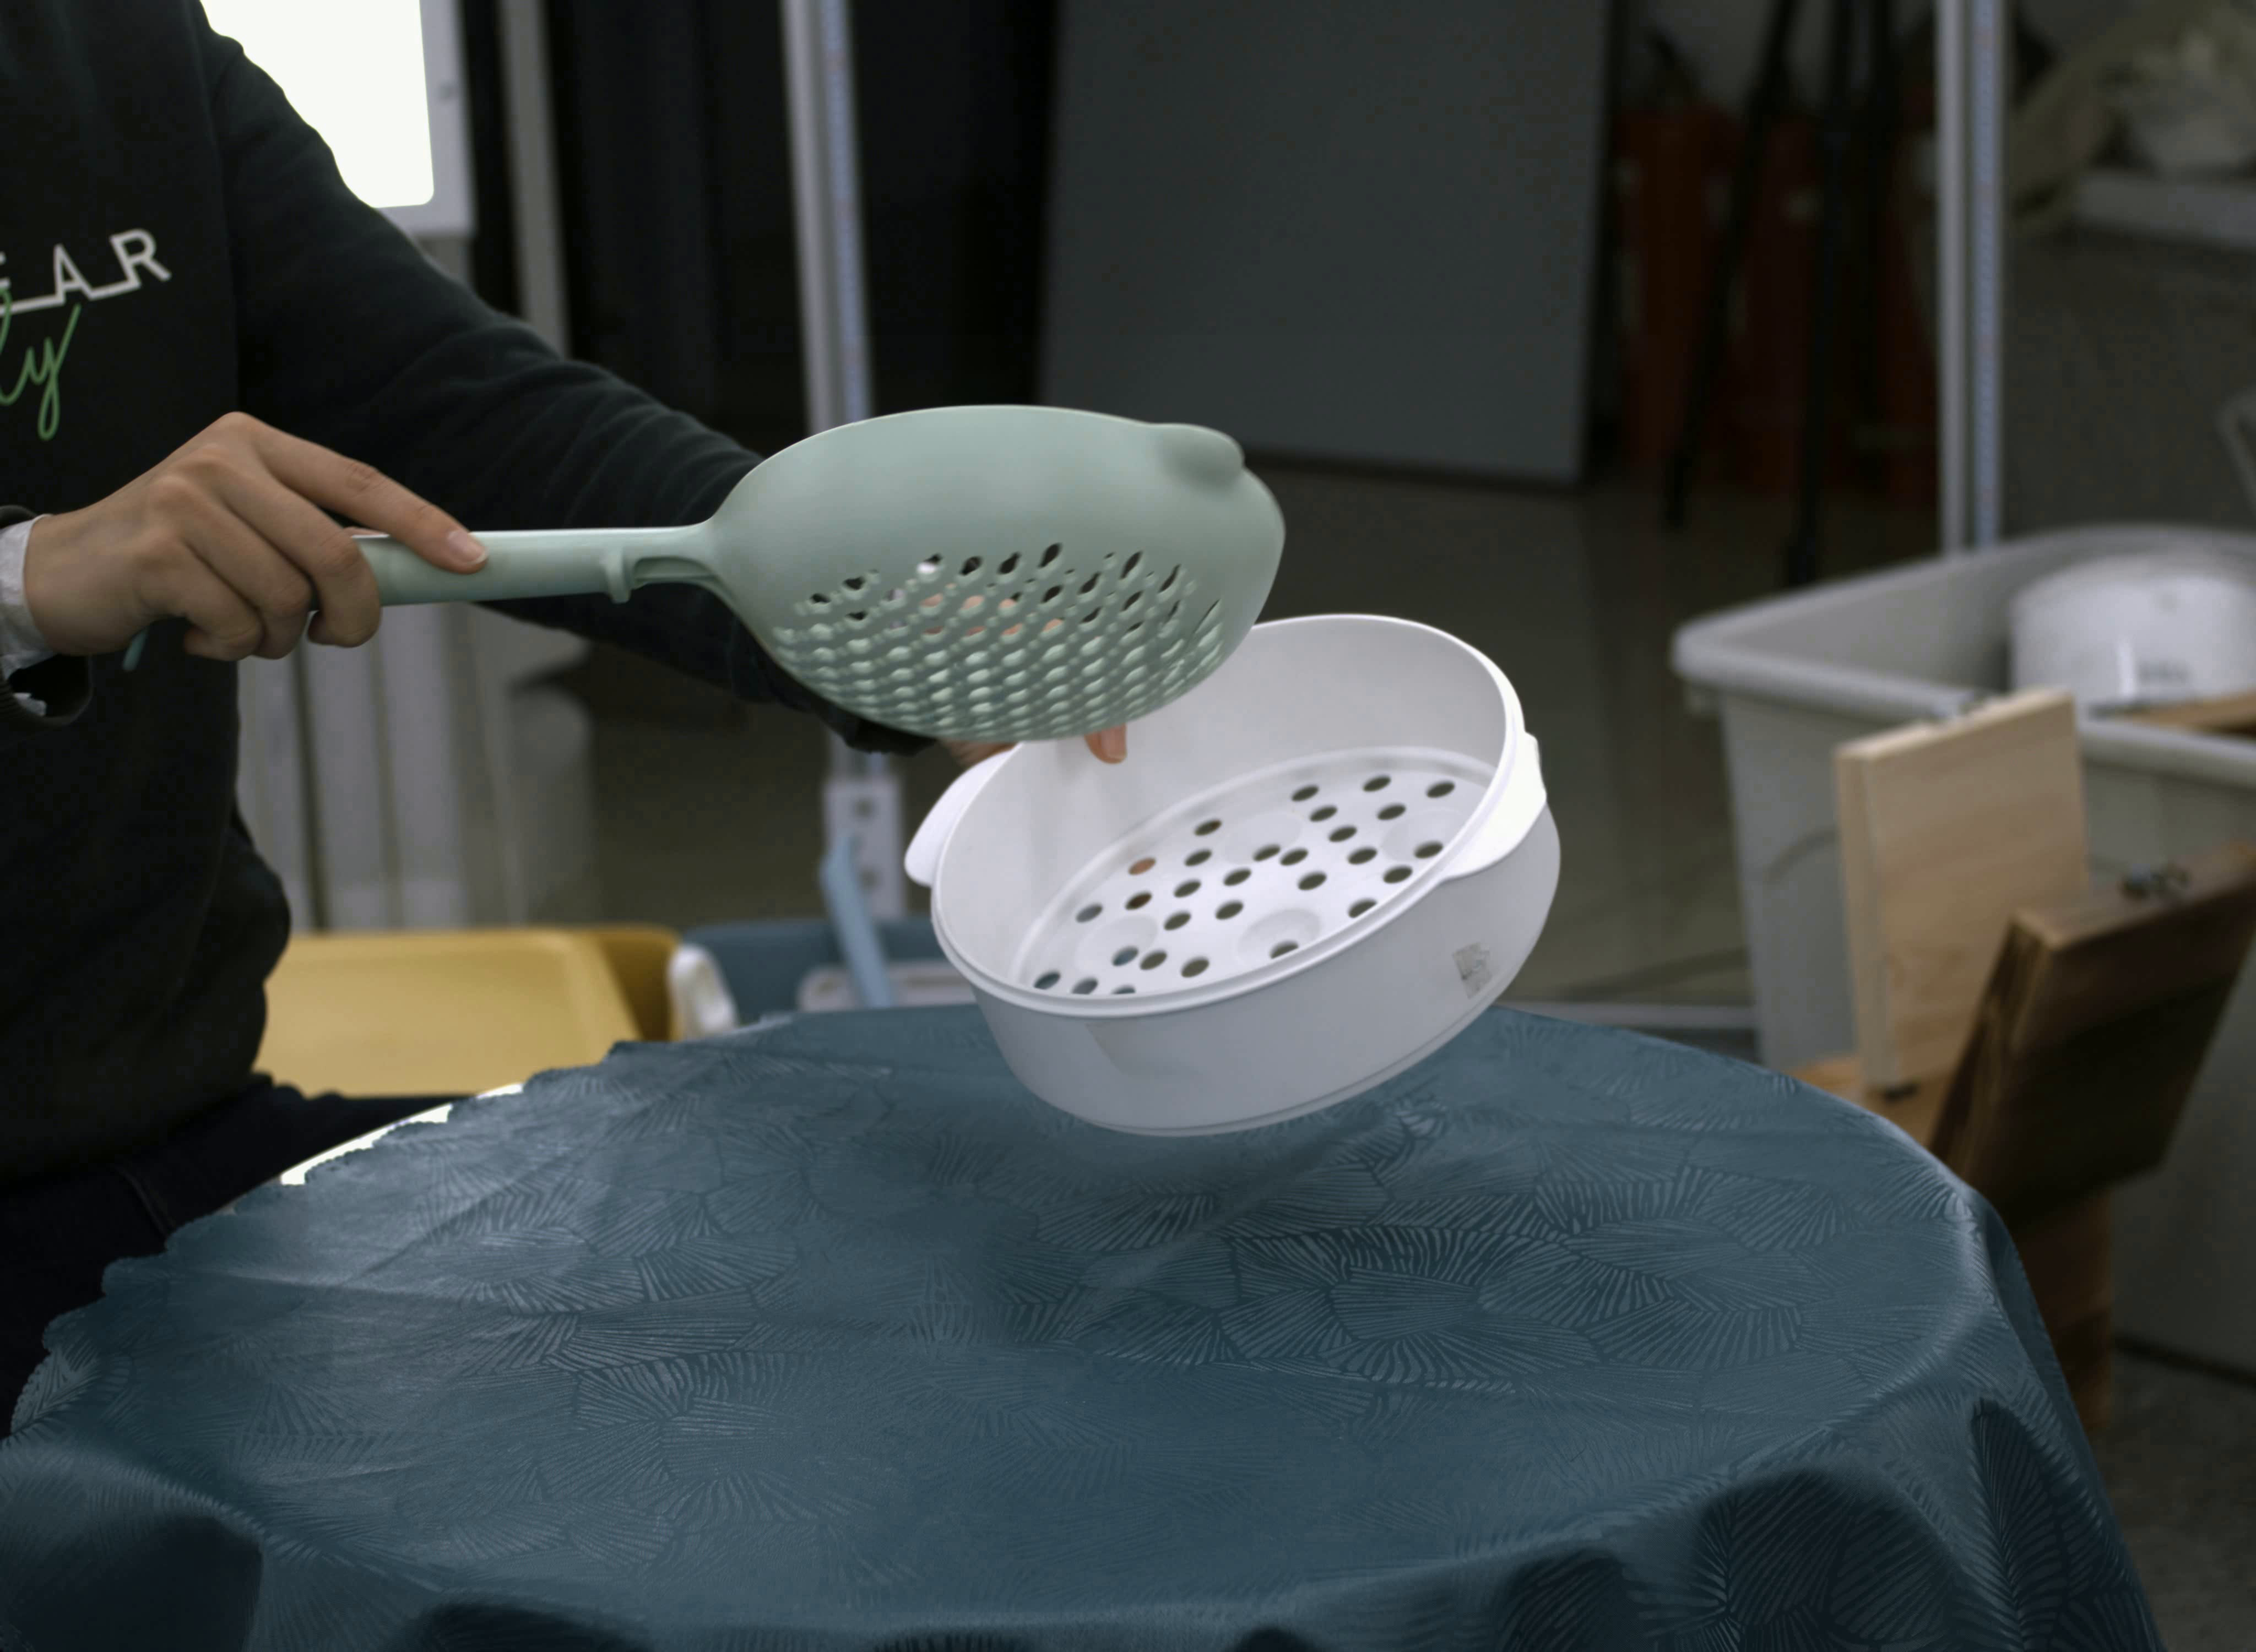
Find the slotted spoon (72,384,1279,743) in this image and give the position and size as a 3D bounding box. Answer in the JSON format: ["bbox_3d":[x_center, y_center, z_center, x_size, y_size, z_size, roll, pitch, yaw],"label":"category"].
[{"bbox_3d":[-0.134,-0.075,1.614,0.355,0.076,0.169,5,-26,6],"label":"slotted spoon"}]

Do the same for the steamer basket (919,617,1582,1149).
[{"bbox_3d":[0.045,0.018,1.716,0.231,0.069,0.201,-3,36,32],"label":"steamer basket"}]
